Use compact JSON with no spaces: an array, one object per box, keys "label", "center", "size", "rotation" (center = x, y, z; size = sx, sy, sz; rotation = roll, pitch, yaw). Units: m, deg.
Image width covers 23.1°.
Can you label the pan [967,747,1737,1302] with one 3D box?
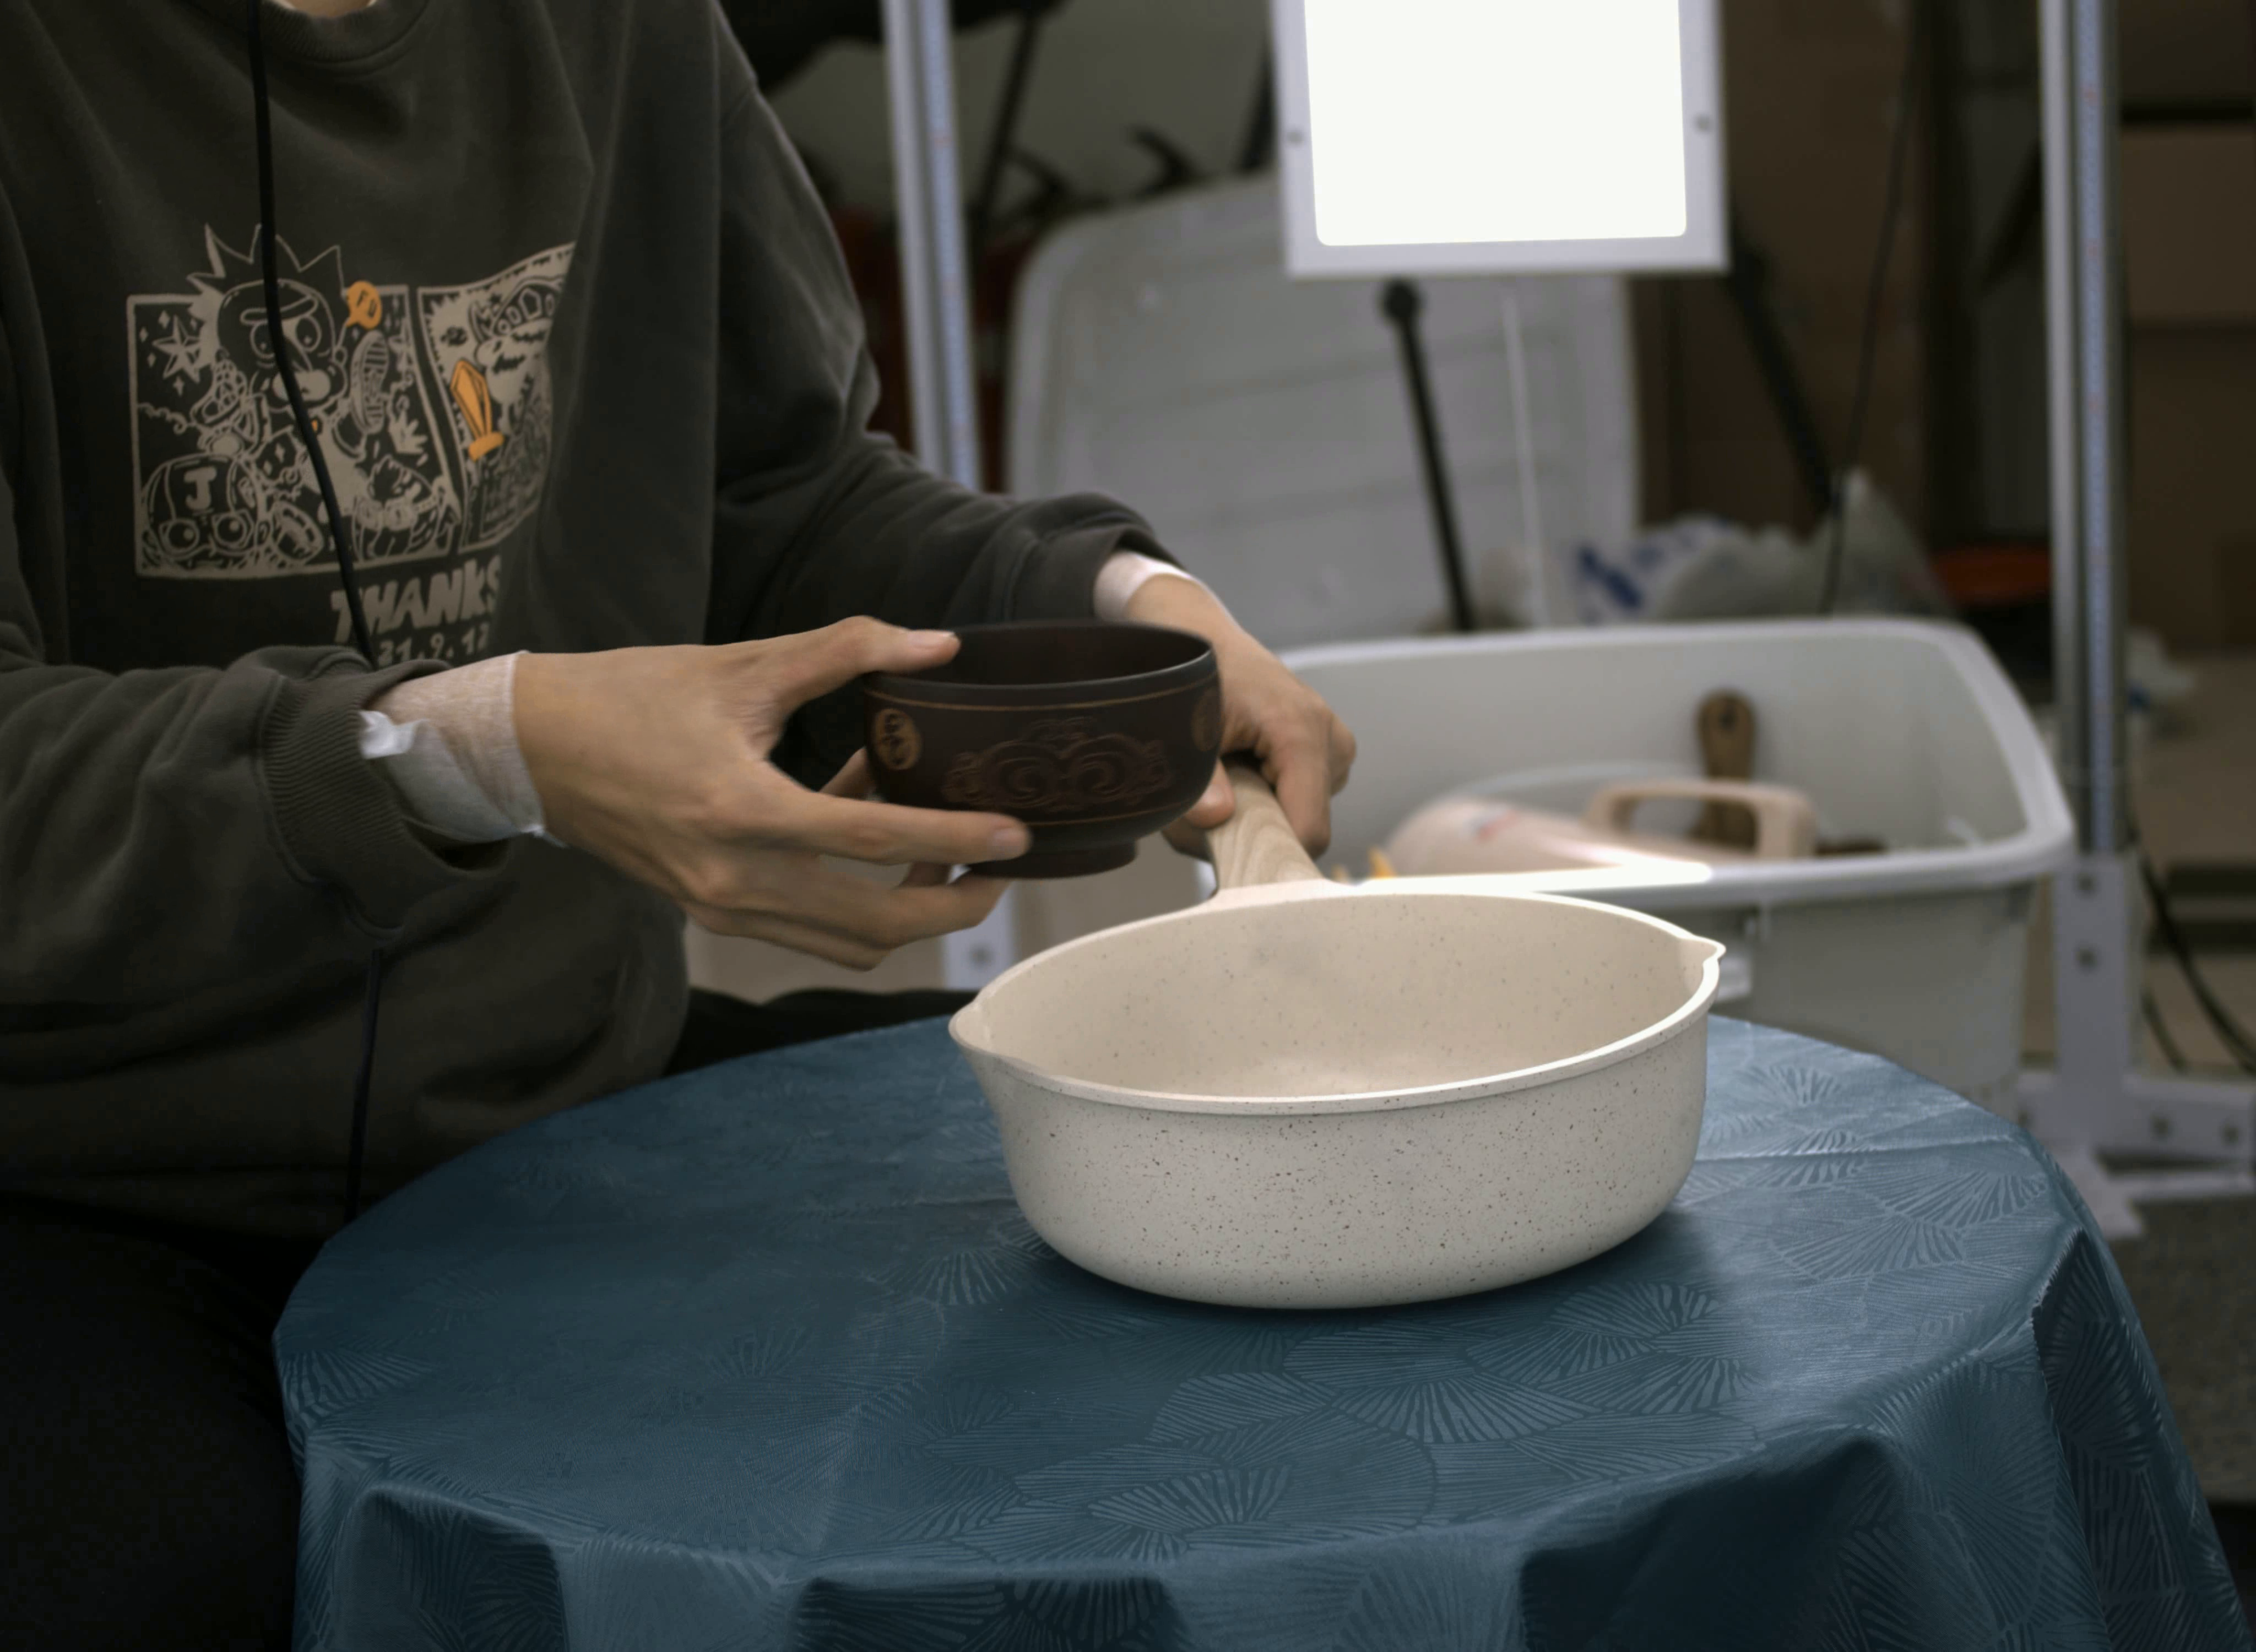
[{"label":"pan","center":[0.066,0.063,1.923],"size":[0.261,0.102,0.436],"rotation":[-8,14,-6]}]

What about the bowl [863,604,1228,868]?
[{"label":"bowl","center":[-0.025,-0.027,1.768],"size":[0.118,0.070,0.118],"rotation":[-5,13,0]}]
